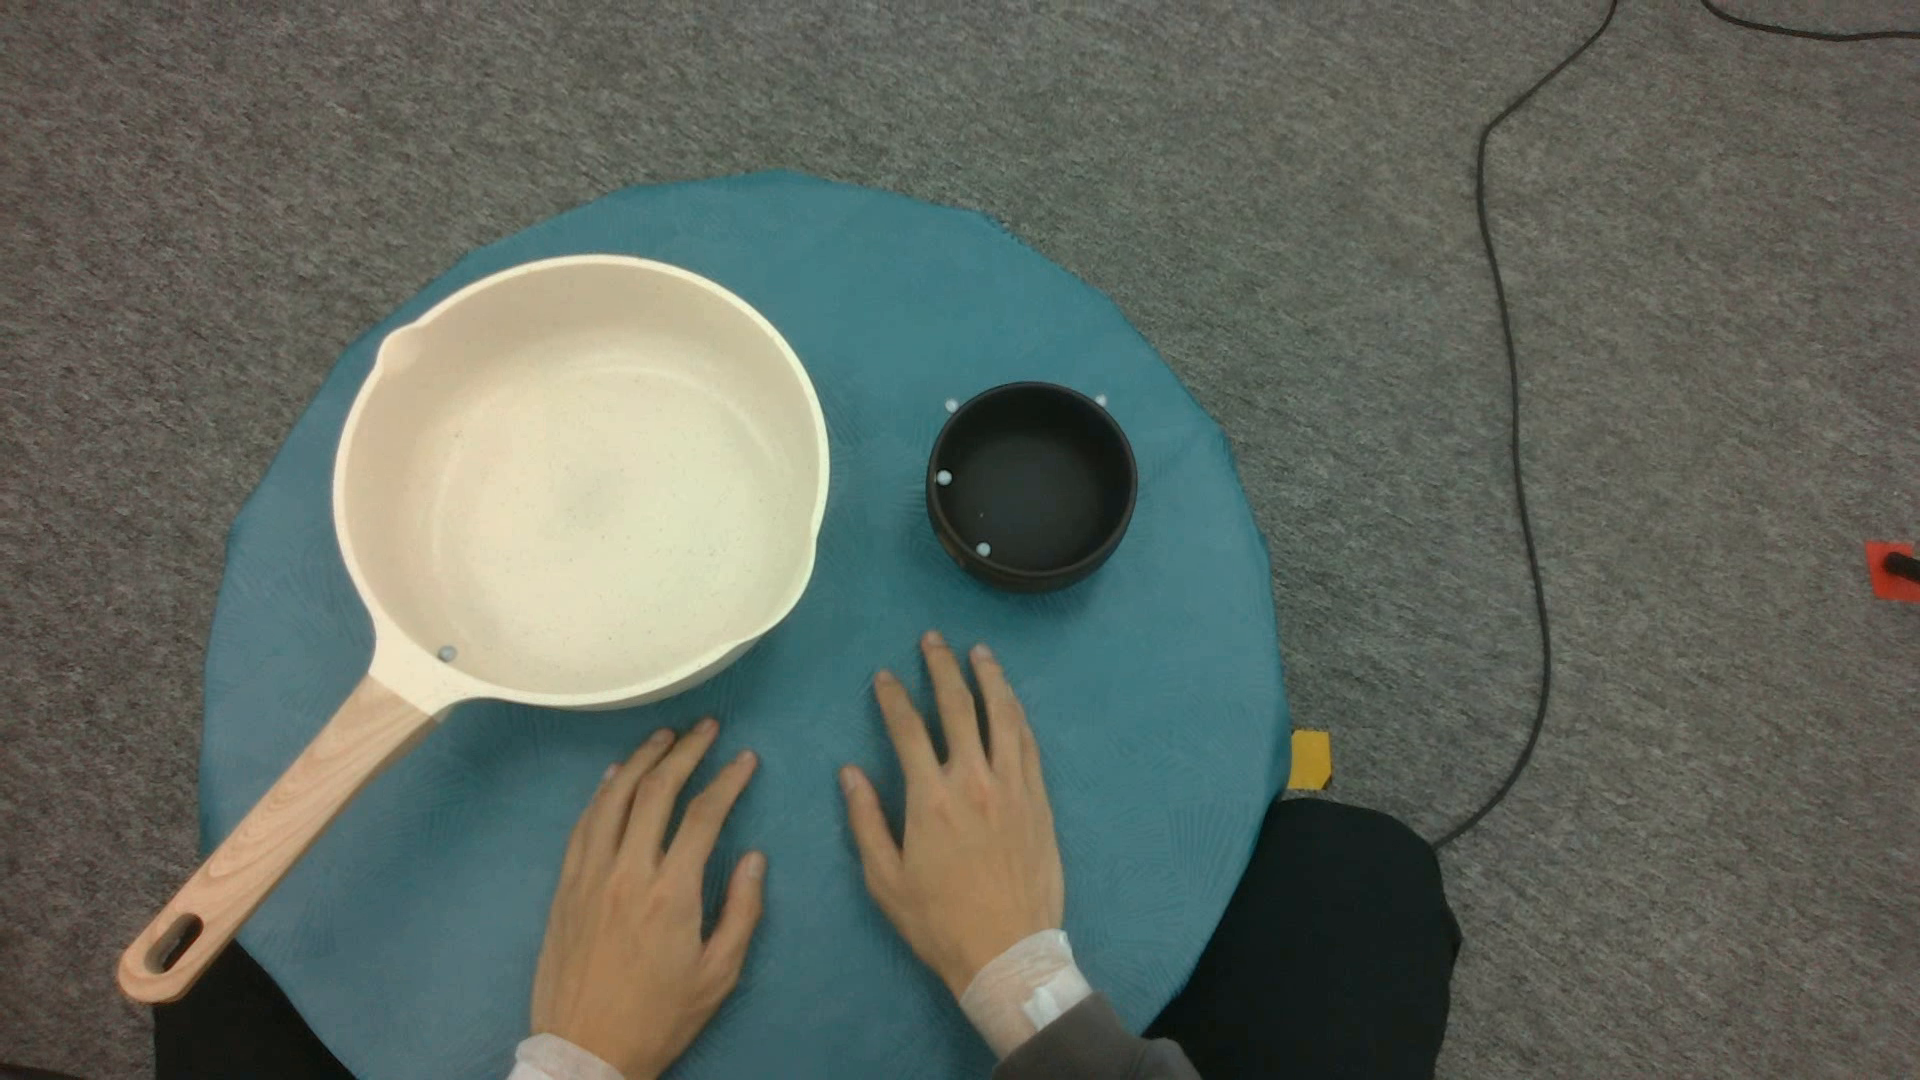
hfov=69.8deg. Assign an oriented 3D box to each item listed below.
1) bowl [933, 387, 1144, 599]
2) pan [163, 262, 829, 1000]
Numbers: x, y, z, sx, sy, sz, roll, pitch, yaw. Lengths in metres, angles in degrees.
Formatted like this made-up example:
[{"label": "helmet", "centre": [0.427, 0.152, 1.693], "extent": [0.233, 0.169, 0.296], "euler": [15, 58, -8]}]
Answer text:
[{"label": "bowl", "centre": [0.043, -0.021, 0.789], "extent": [0.118, 0.069, 0.118], "euler": [1, 72, -3]}, {"label": "pan", "centre": [-0.246, 0.046, 0.736], "extent": [0.263, 0.101, 0.436], "euler": [32, 72, 7]}]
